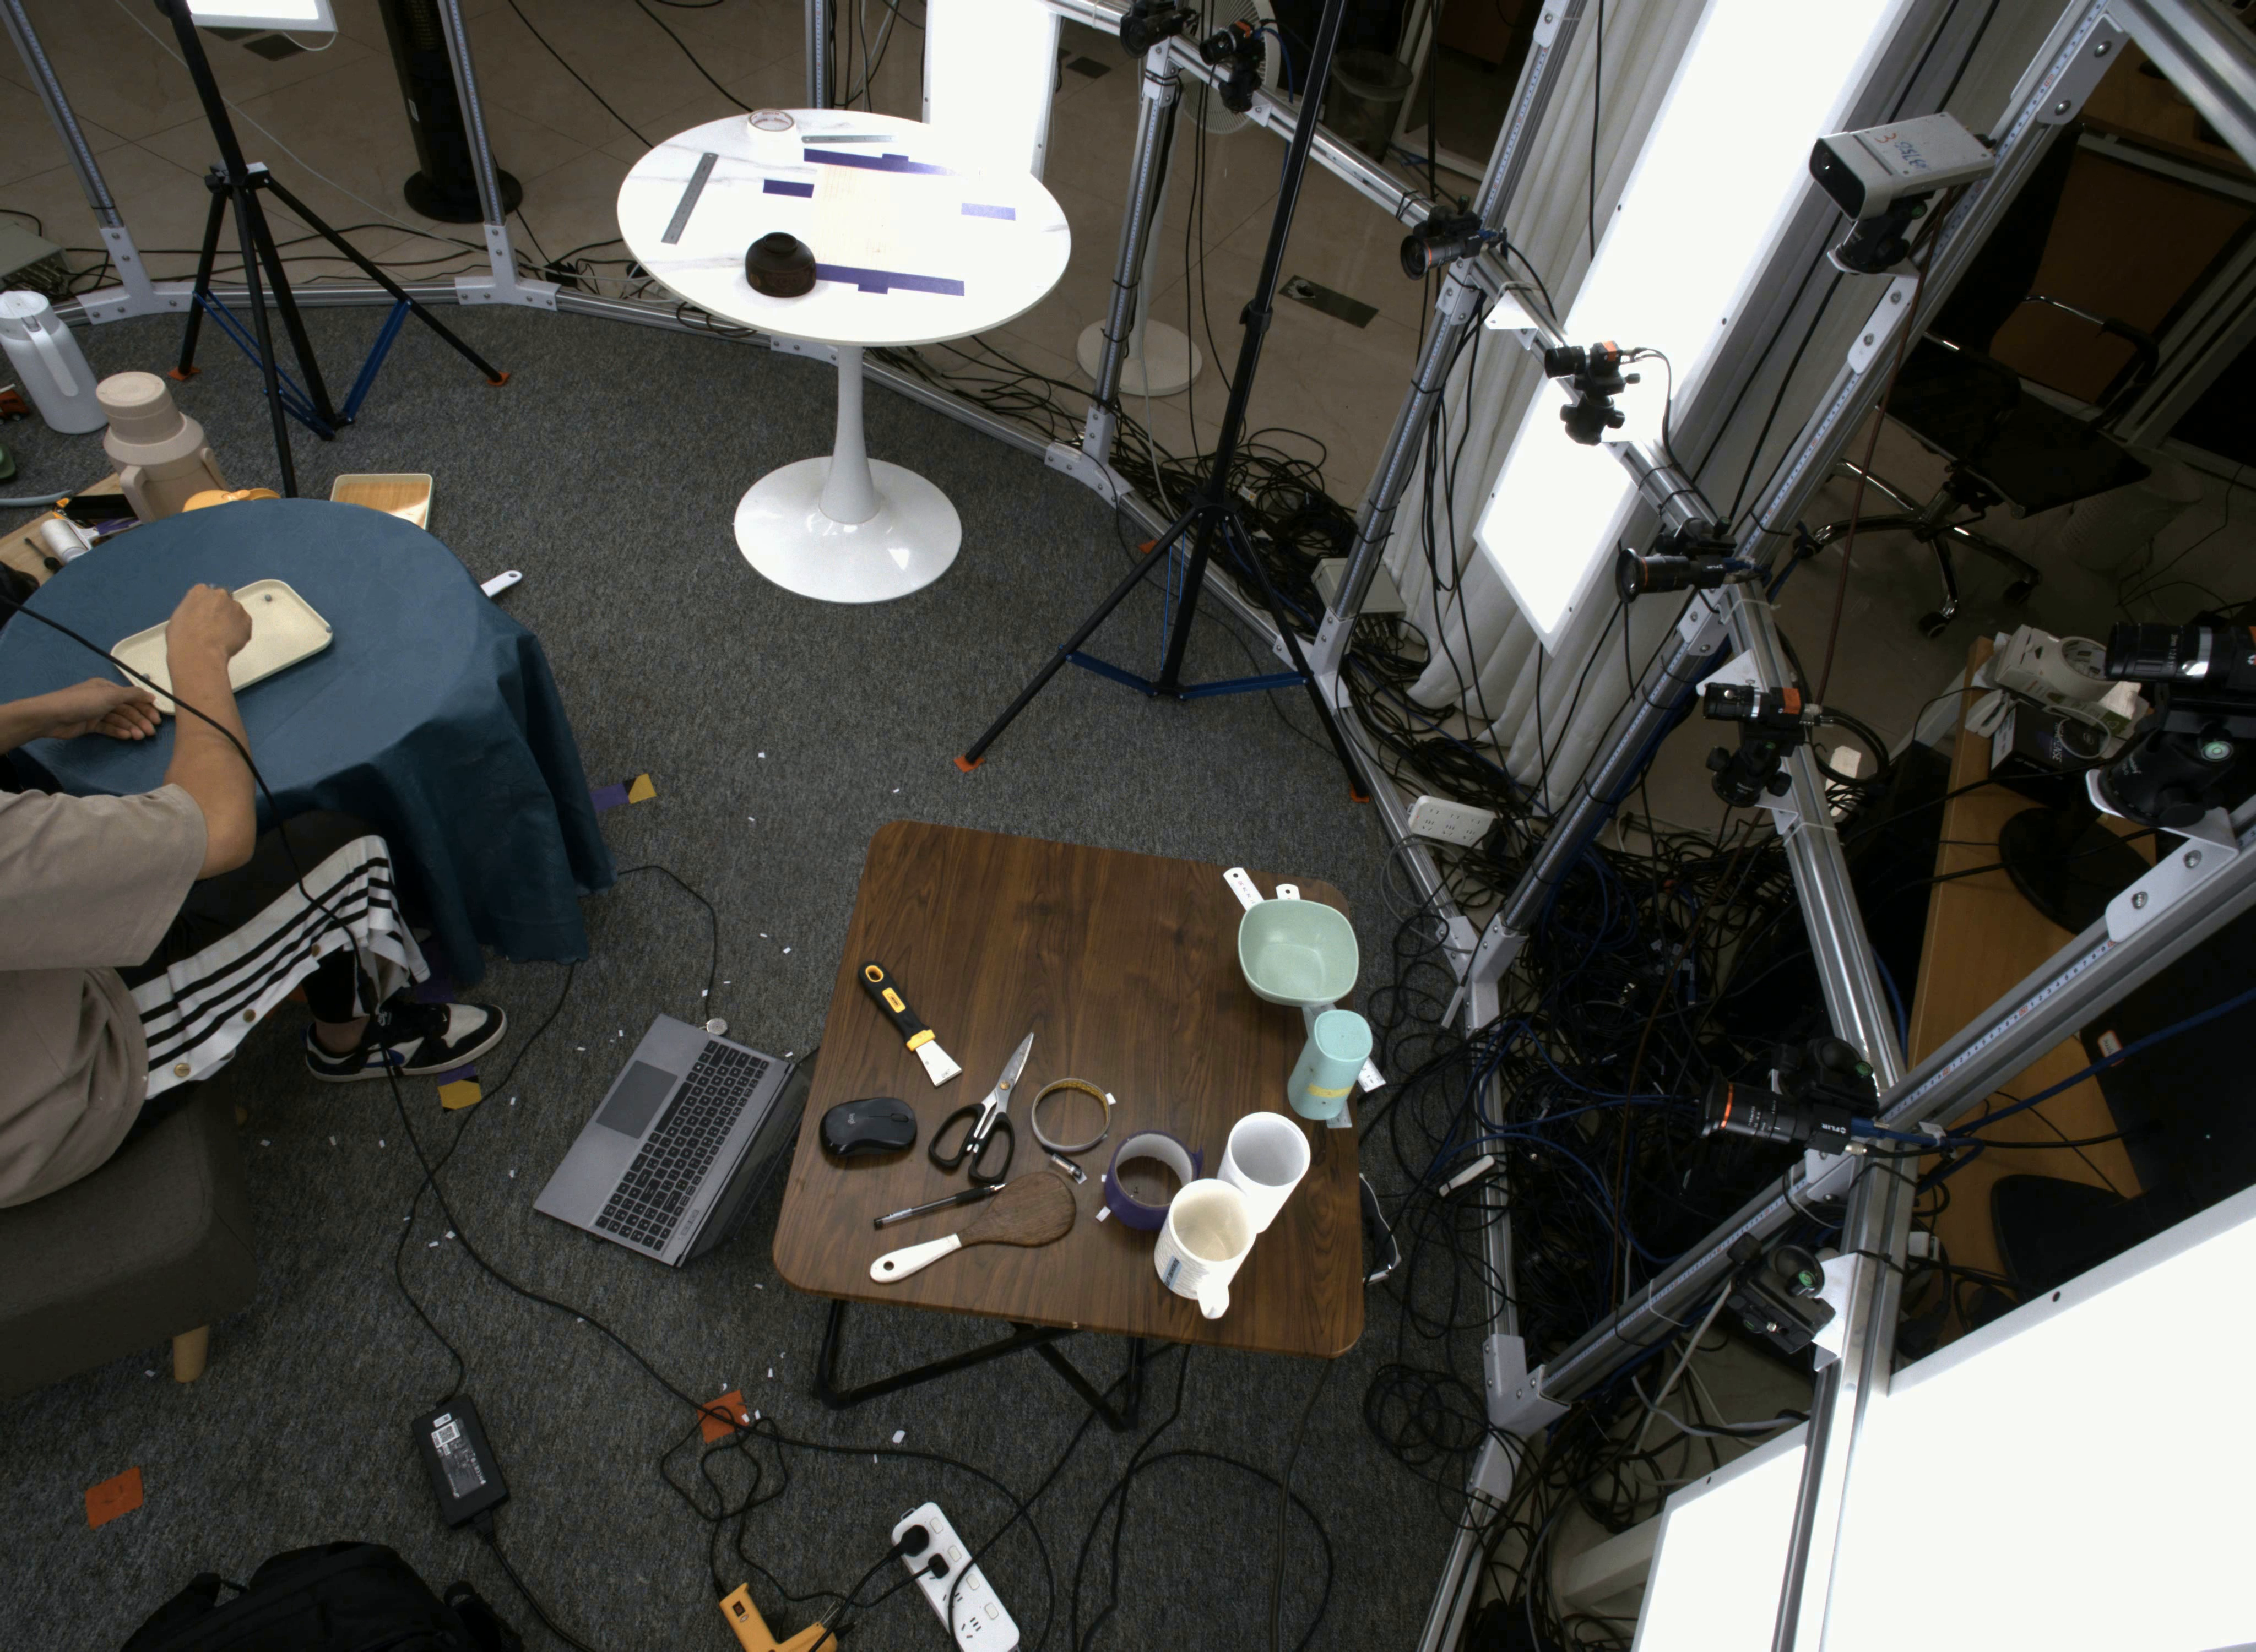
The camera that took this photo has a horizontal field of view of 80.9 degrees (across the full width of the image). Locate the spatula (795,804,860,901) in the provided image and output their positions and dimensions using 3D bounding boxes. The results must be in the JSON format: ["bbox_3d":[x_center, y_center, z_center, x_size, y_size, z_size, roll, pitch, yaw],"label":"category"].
[{"bbox_3d":[-0.349,0.024,1.513,0.059,0.033,0.279,-9,20,-17],"label":"spatula"}]

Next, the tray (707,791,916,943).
[{"bbox_3d":[-0.411,0.050,1.689,0.240,0.018,0.167,-25,62,-28],"label":"tray"}]
